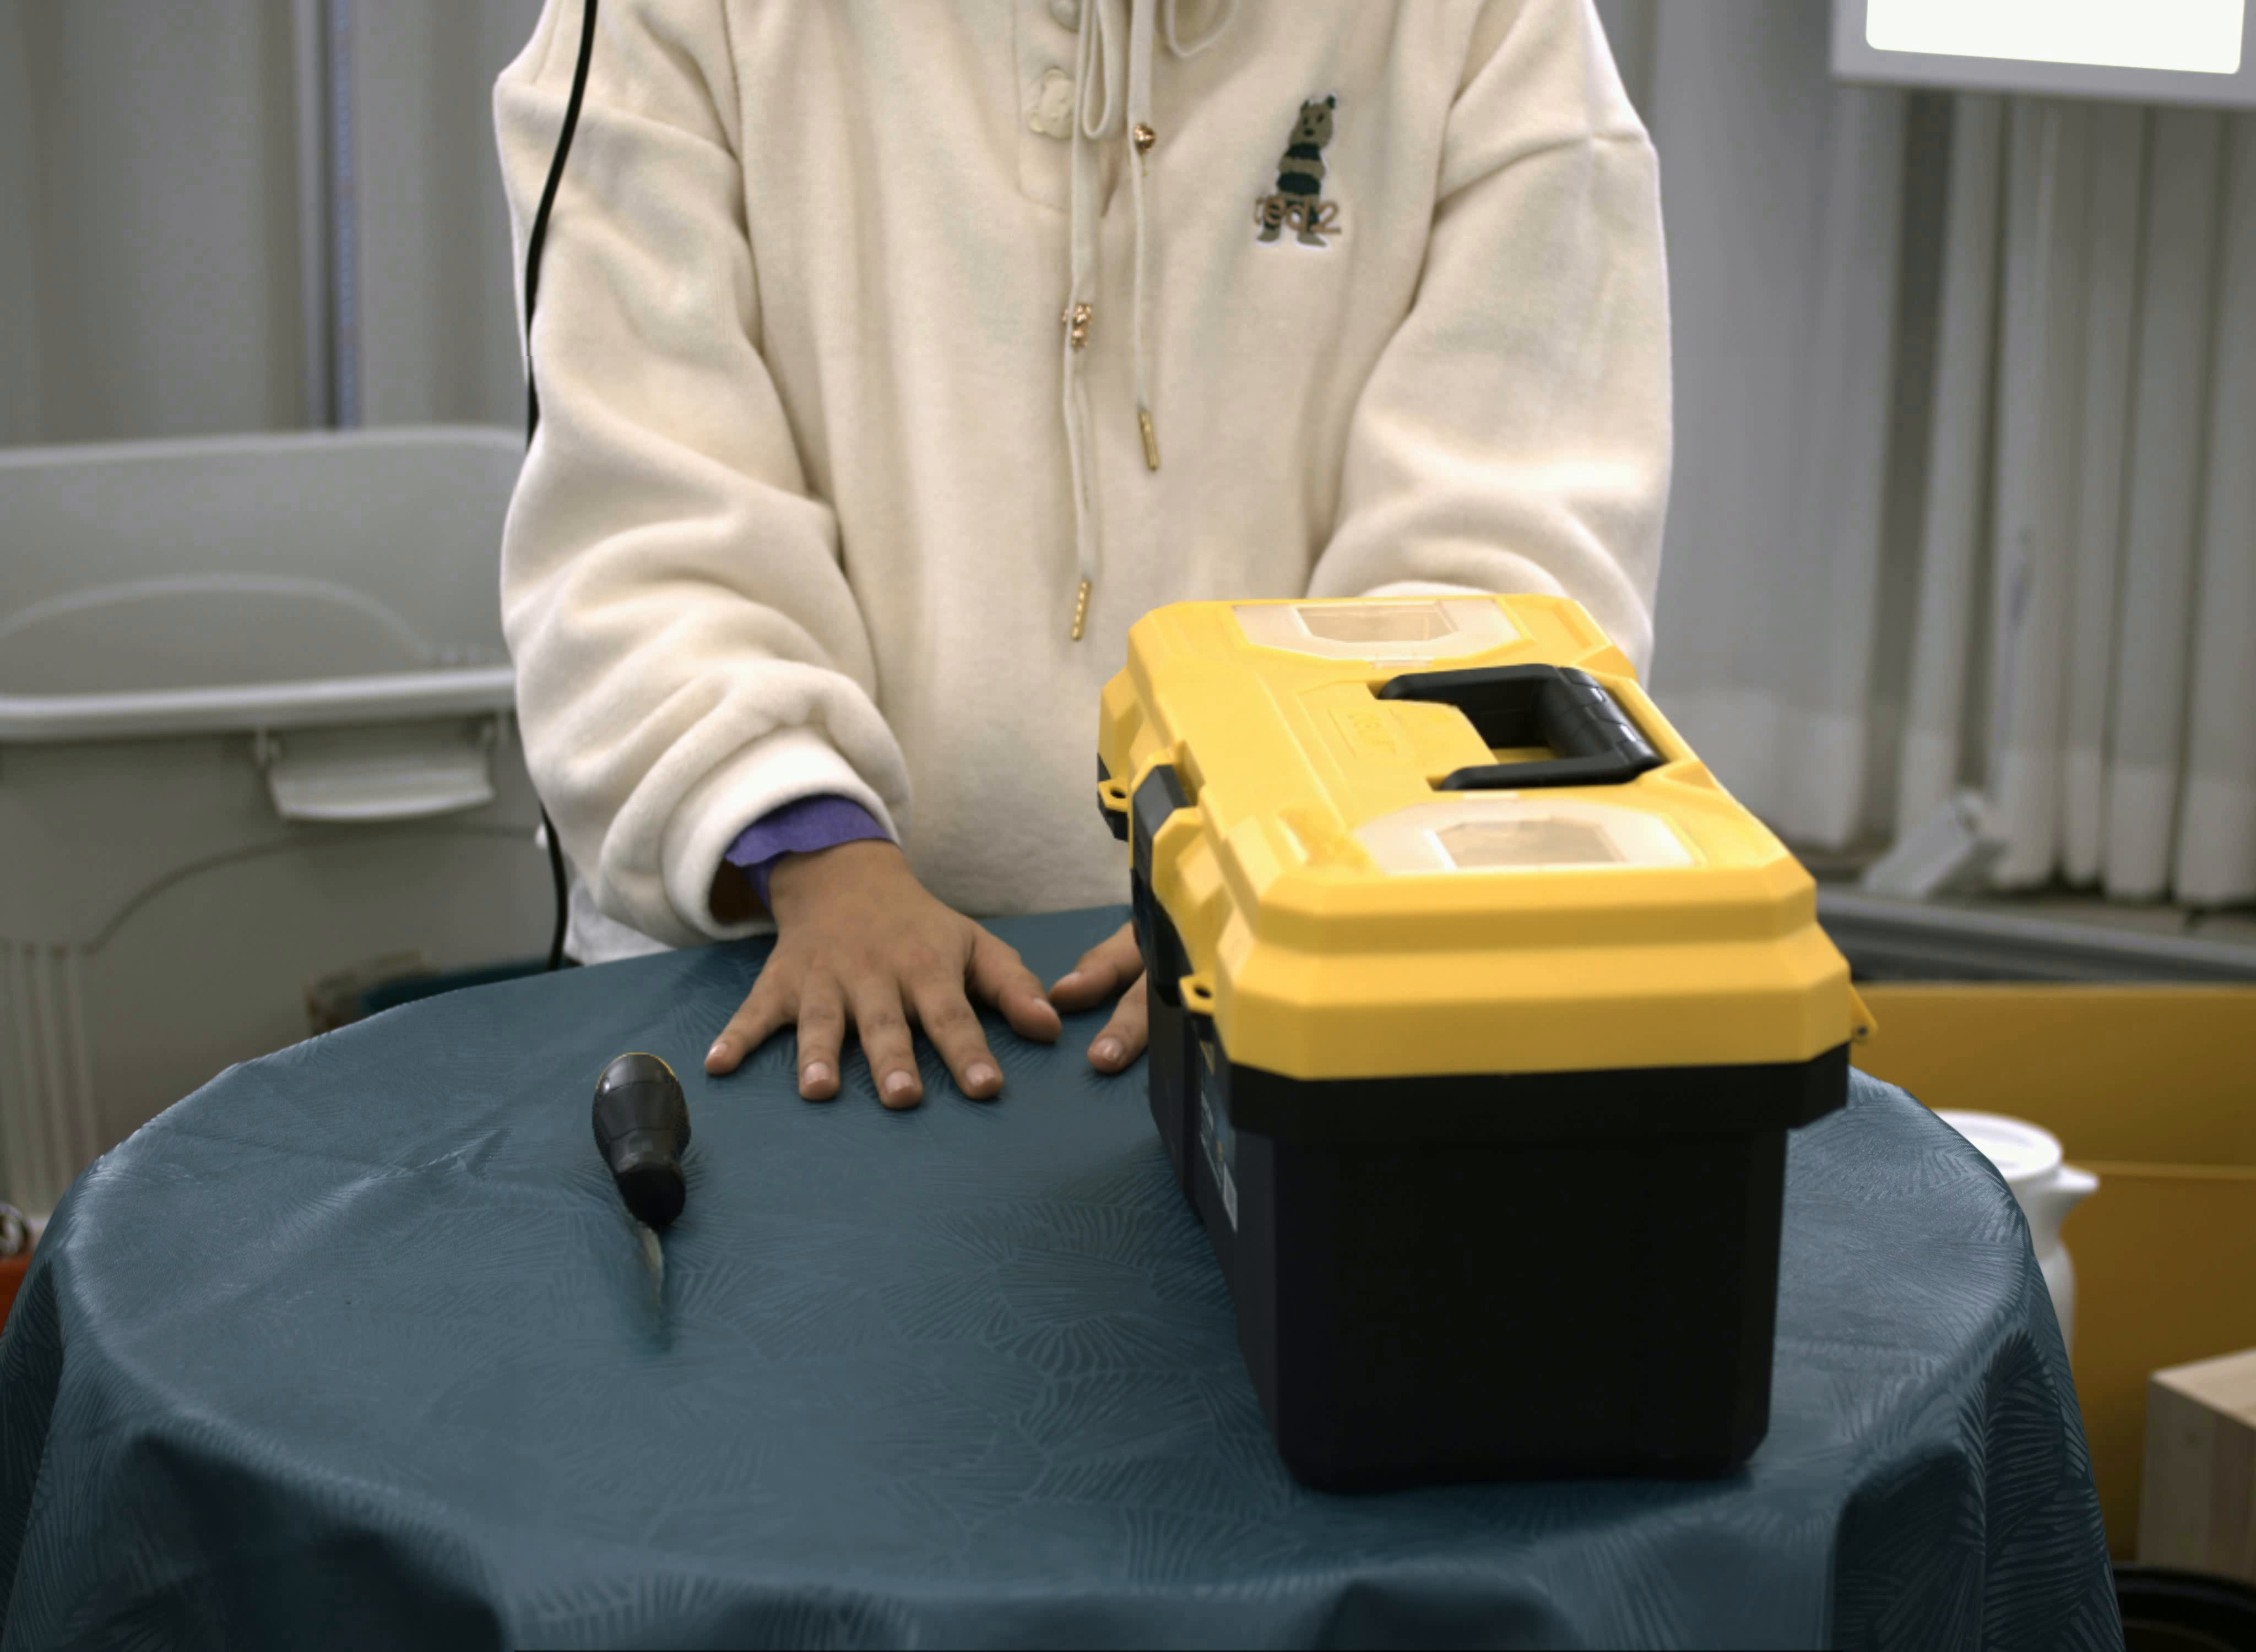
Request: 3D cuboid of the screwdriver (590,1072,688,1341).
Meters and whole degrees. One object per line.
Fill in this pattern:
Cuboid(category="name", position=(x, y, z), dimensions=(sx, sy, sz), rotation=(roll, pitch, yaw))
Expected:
Cuboid(category="screwdriver", position=(-0.145, 0.118, 1.578), dimensions=(0.031, 0.032, 0.196), rotation=(-1, 20, -6))

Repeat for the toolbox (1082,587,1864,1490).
Cuboid(category="toolbox", position=(0.090, 0.051, 1.517), dimensions=(0.181, 0.174, 0.349), rotation=(-1, 16, -6))
